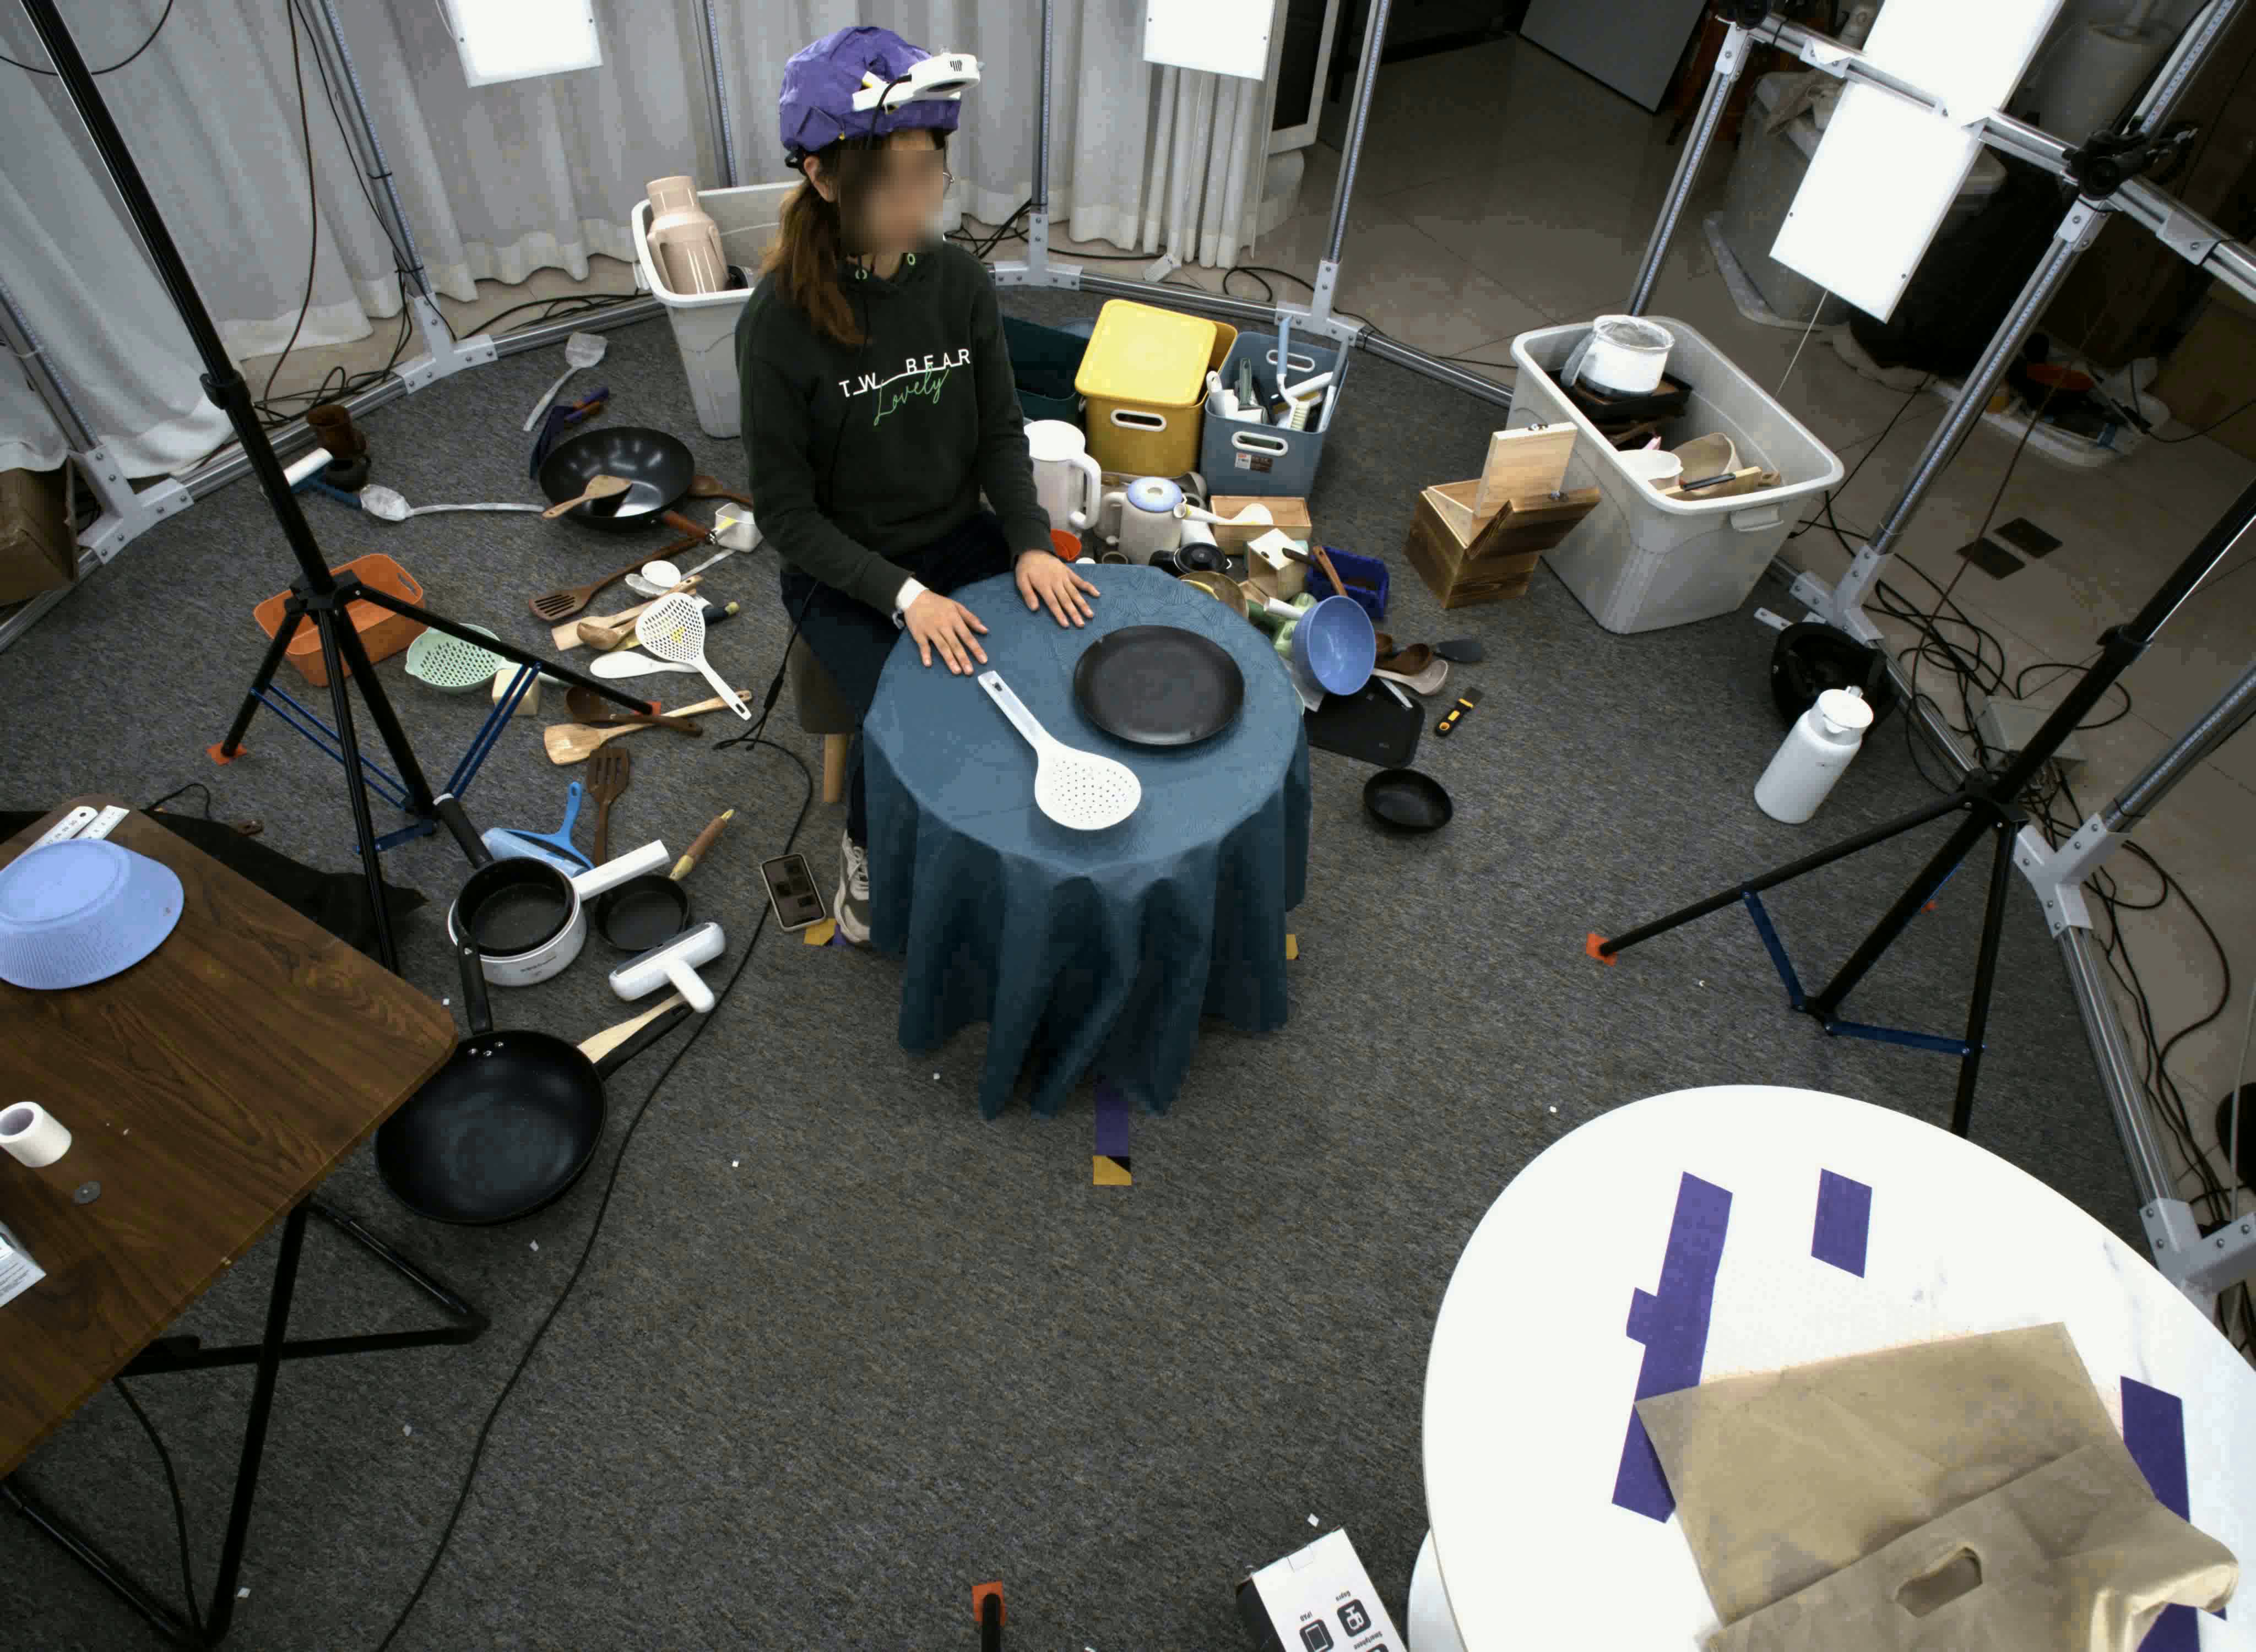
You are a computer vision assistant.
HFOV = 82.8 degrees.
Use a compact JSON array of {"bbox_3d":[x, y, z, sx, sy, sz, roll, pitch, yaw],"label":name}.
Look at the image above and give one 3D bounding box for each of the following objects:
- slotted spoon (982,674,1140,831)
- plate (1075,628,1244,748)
[{"bbox_3d":[-0.109,-0.106,1.739,0.136,0.044,0.357,-21,52,-23],"label":"slotted spoon"},{"bbox_3d":[0.045,-0.197,1.844,0.244,0.023,0.250,2,49,-2],"label":"plate"}]
